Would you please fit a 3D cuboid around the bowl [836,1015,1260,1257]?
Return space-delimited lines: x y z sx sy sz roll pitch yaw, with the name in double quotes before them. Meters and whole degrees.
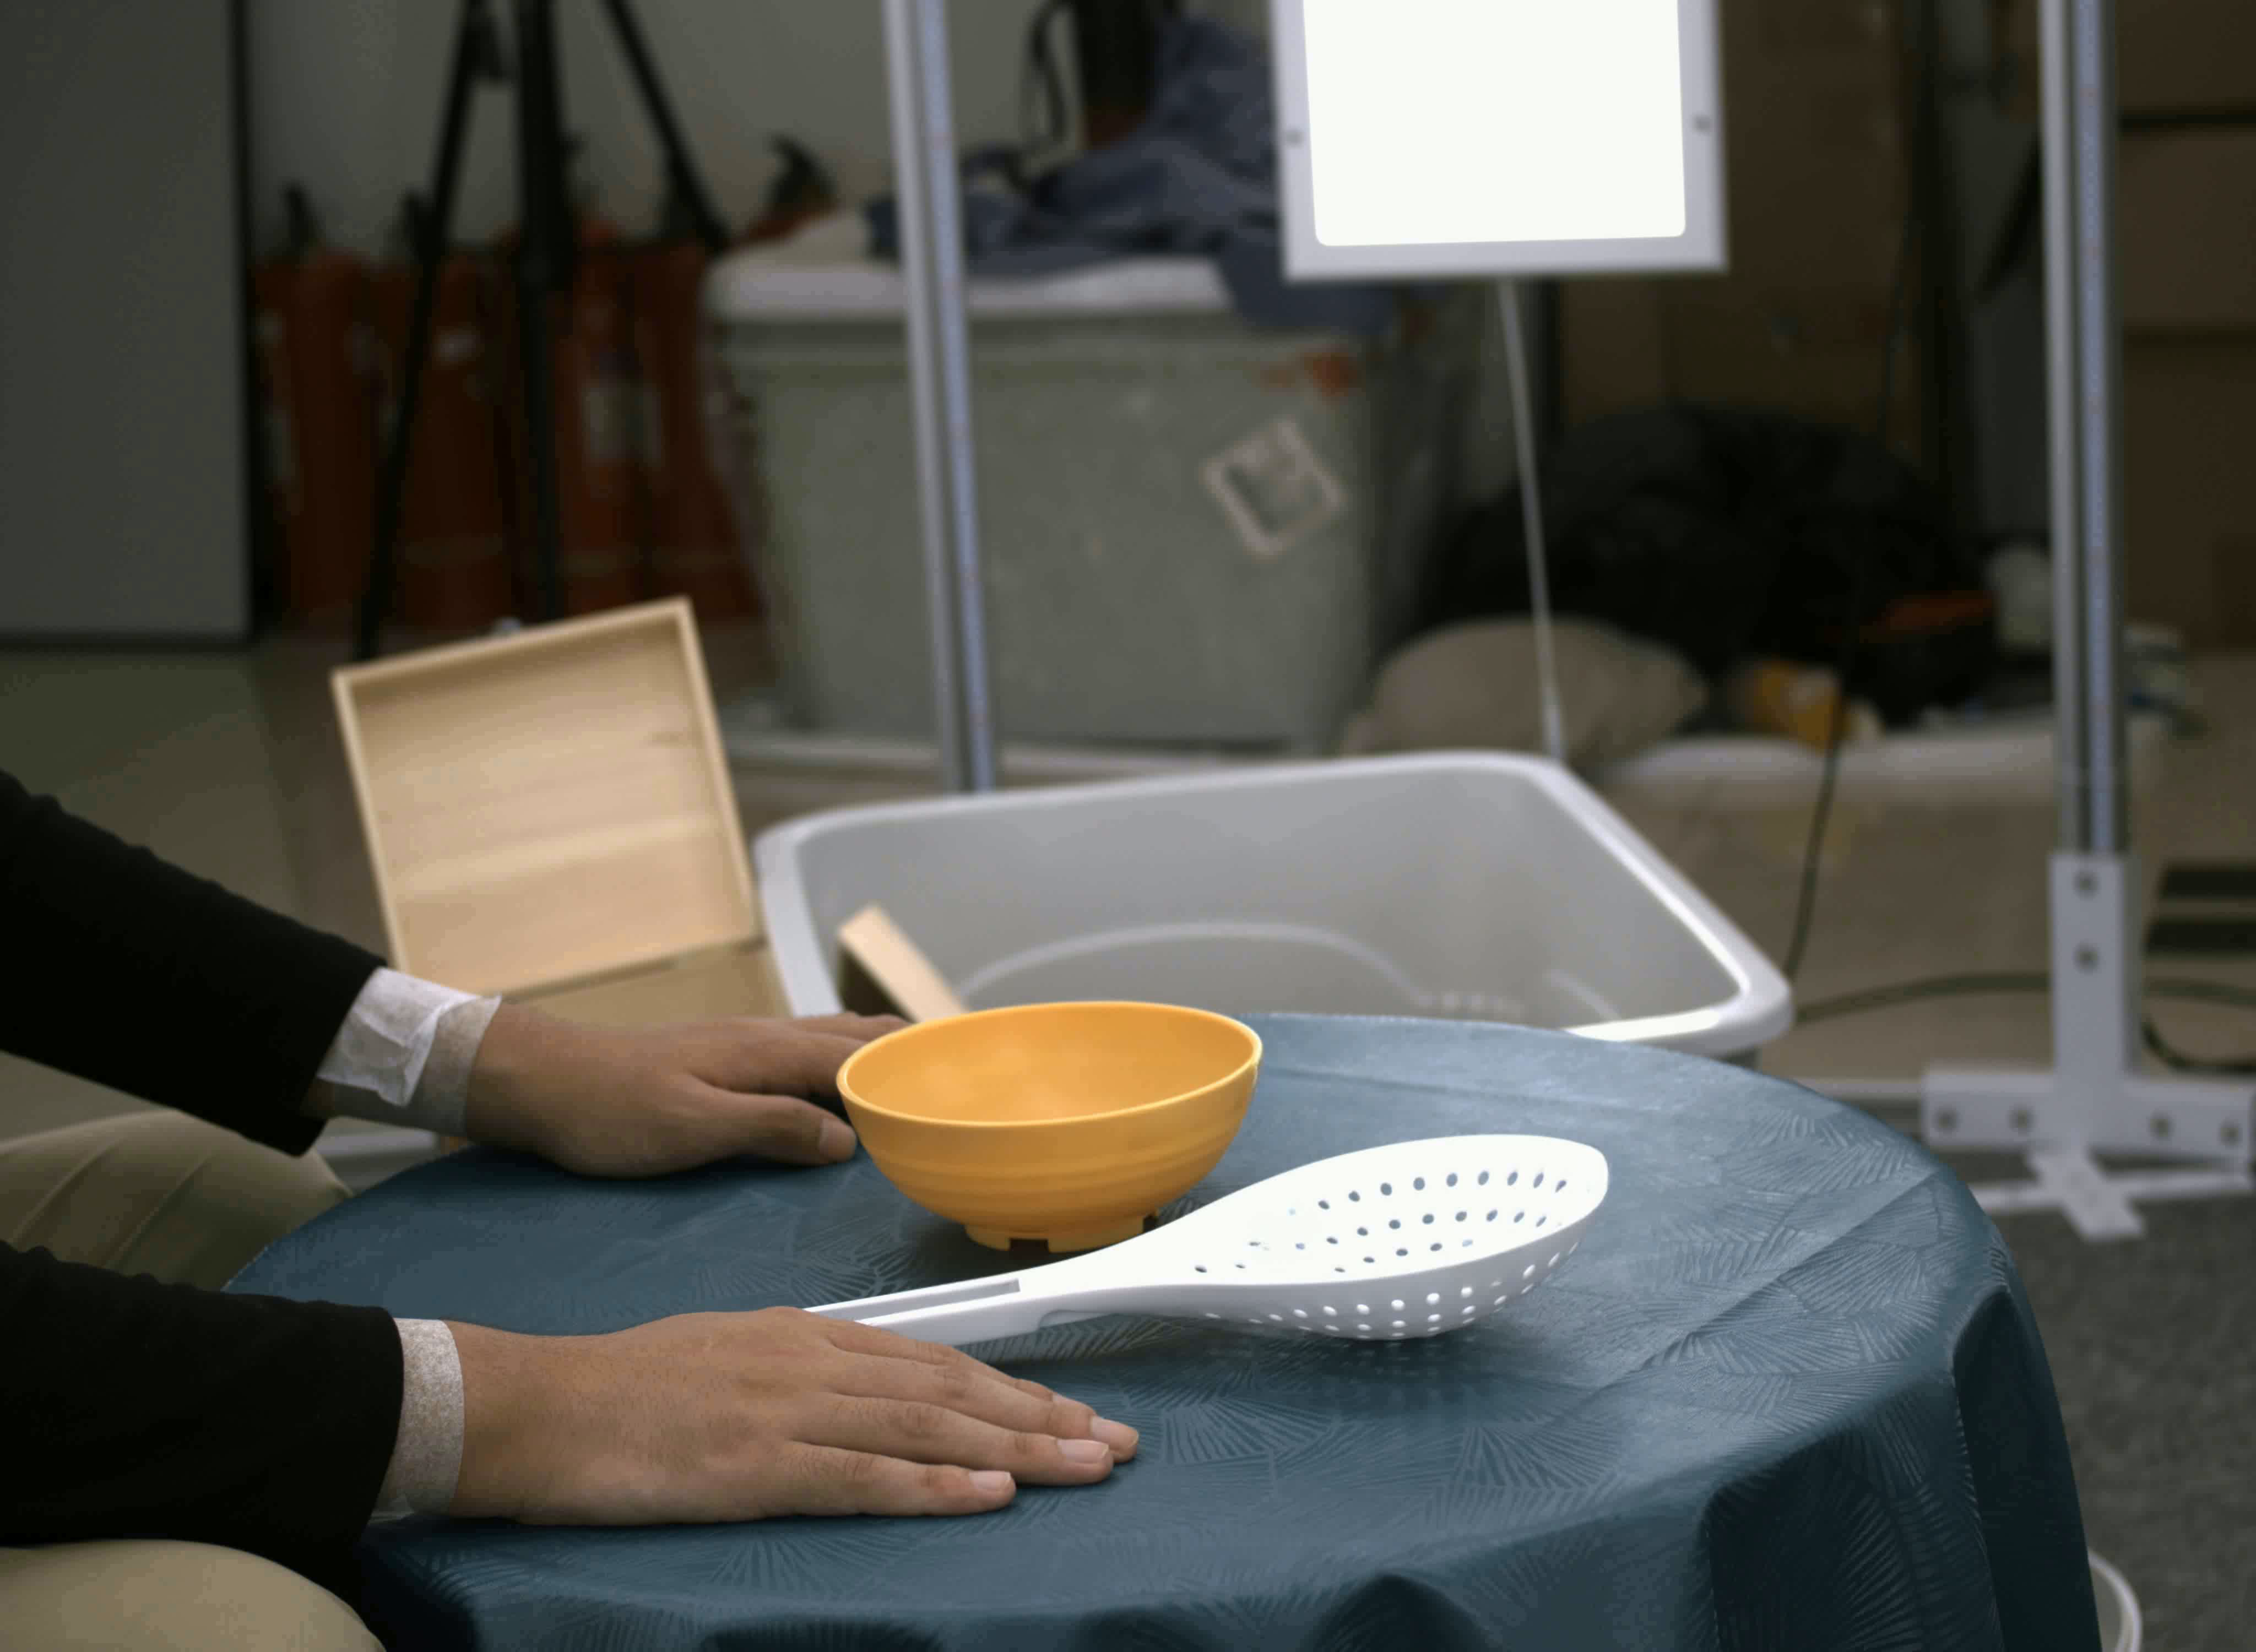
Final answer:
"bowl" -0.025 0.108 1.863 0.145 0.060 0.145 -4 12 0

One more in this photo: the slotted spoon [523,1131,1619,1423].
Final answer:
"slotted spoon" -0.017 0.146 1.730 0.348 0.046 0.136 -6 13 -1
